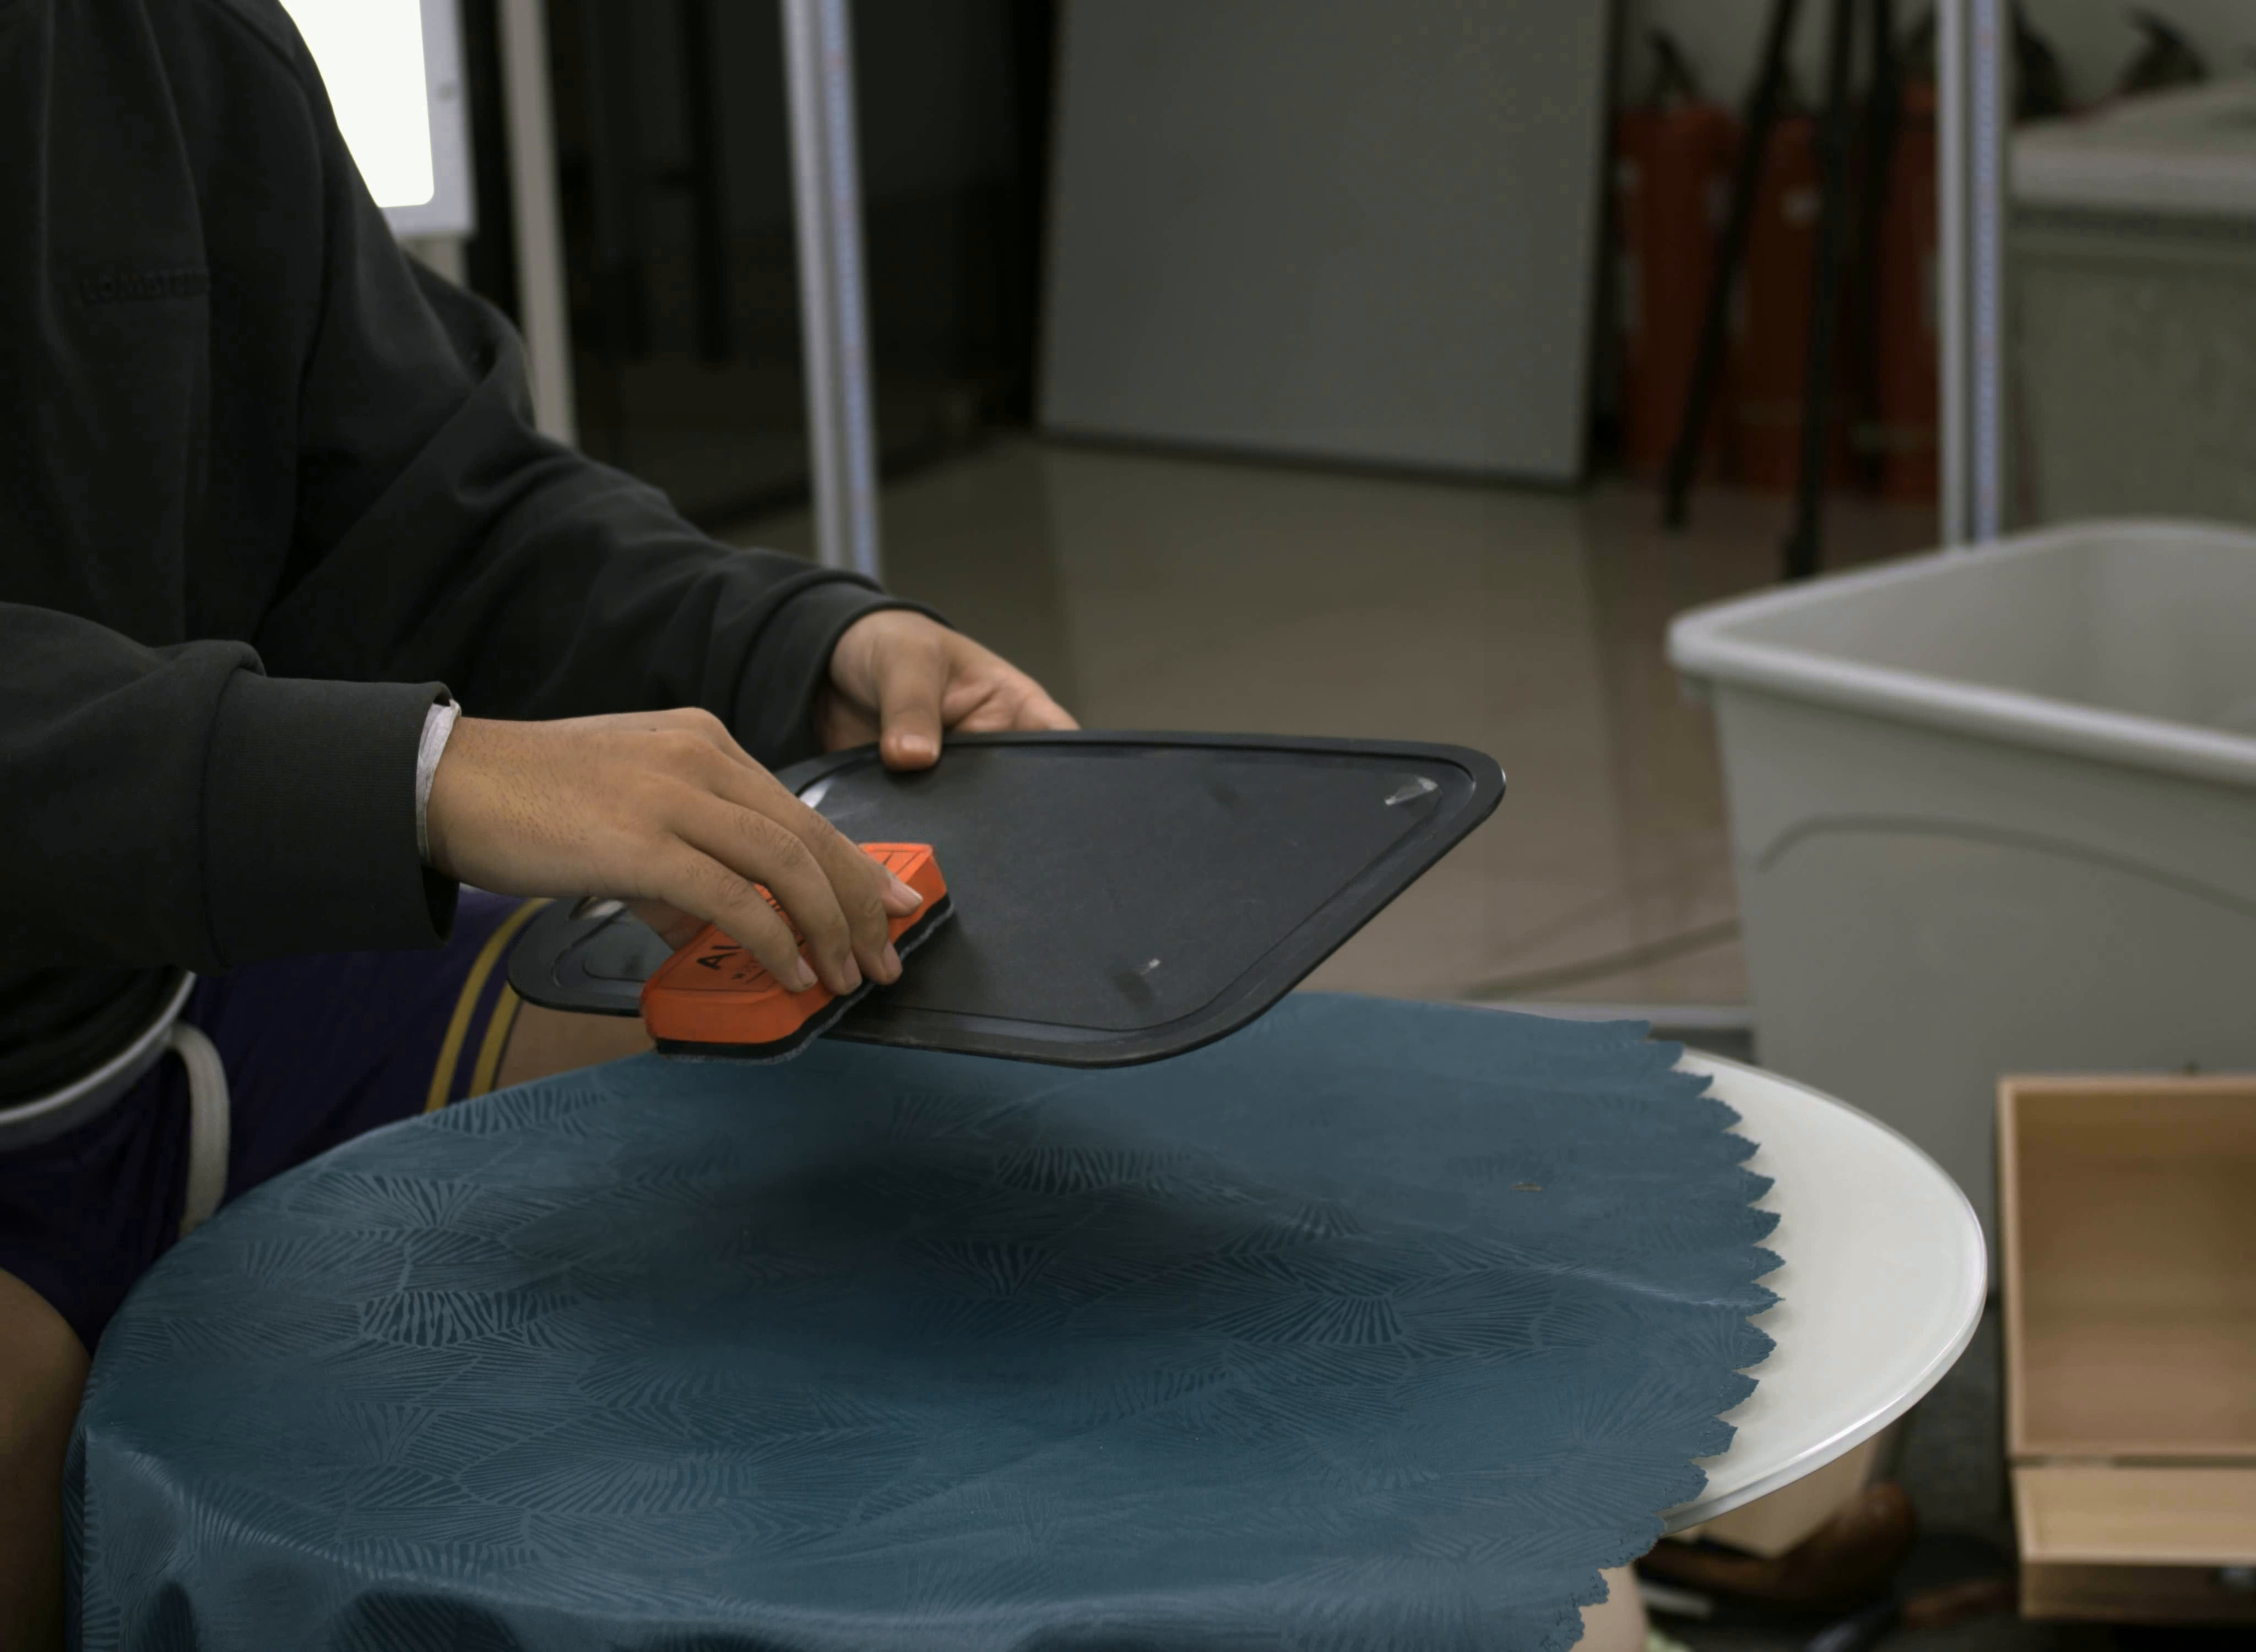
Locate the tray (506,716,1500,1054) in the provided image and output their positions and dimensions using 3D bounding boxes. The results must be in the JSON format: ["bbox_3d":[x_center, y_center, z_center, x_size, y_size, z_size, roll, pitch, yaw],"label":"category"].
[{"bbox_3d":[-0.050,0.014,1.735,0.328,0.010,0.208,3,29,41],"label":"tray"}]

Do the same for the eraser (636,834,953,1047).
[{"bbox_3d":[-0.103,0.035,1.684,0.059,0.023,0.107,-1,25,33],"label":"eraser"}]
